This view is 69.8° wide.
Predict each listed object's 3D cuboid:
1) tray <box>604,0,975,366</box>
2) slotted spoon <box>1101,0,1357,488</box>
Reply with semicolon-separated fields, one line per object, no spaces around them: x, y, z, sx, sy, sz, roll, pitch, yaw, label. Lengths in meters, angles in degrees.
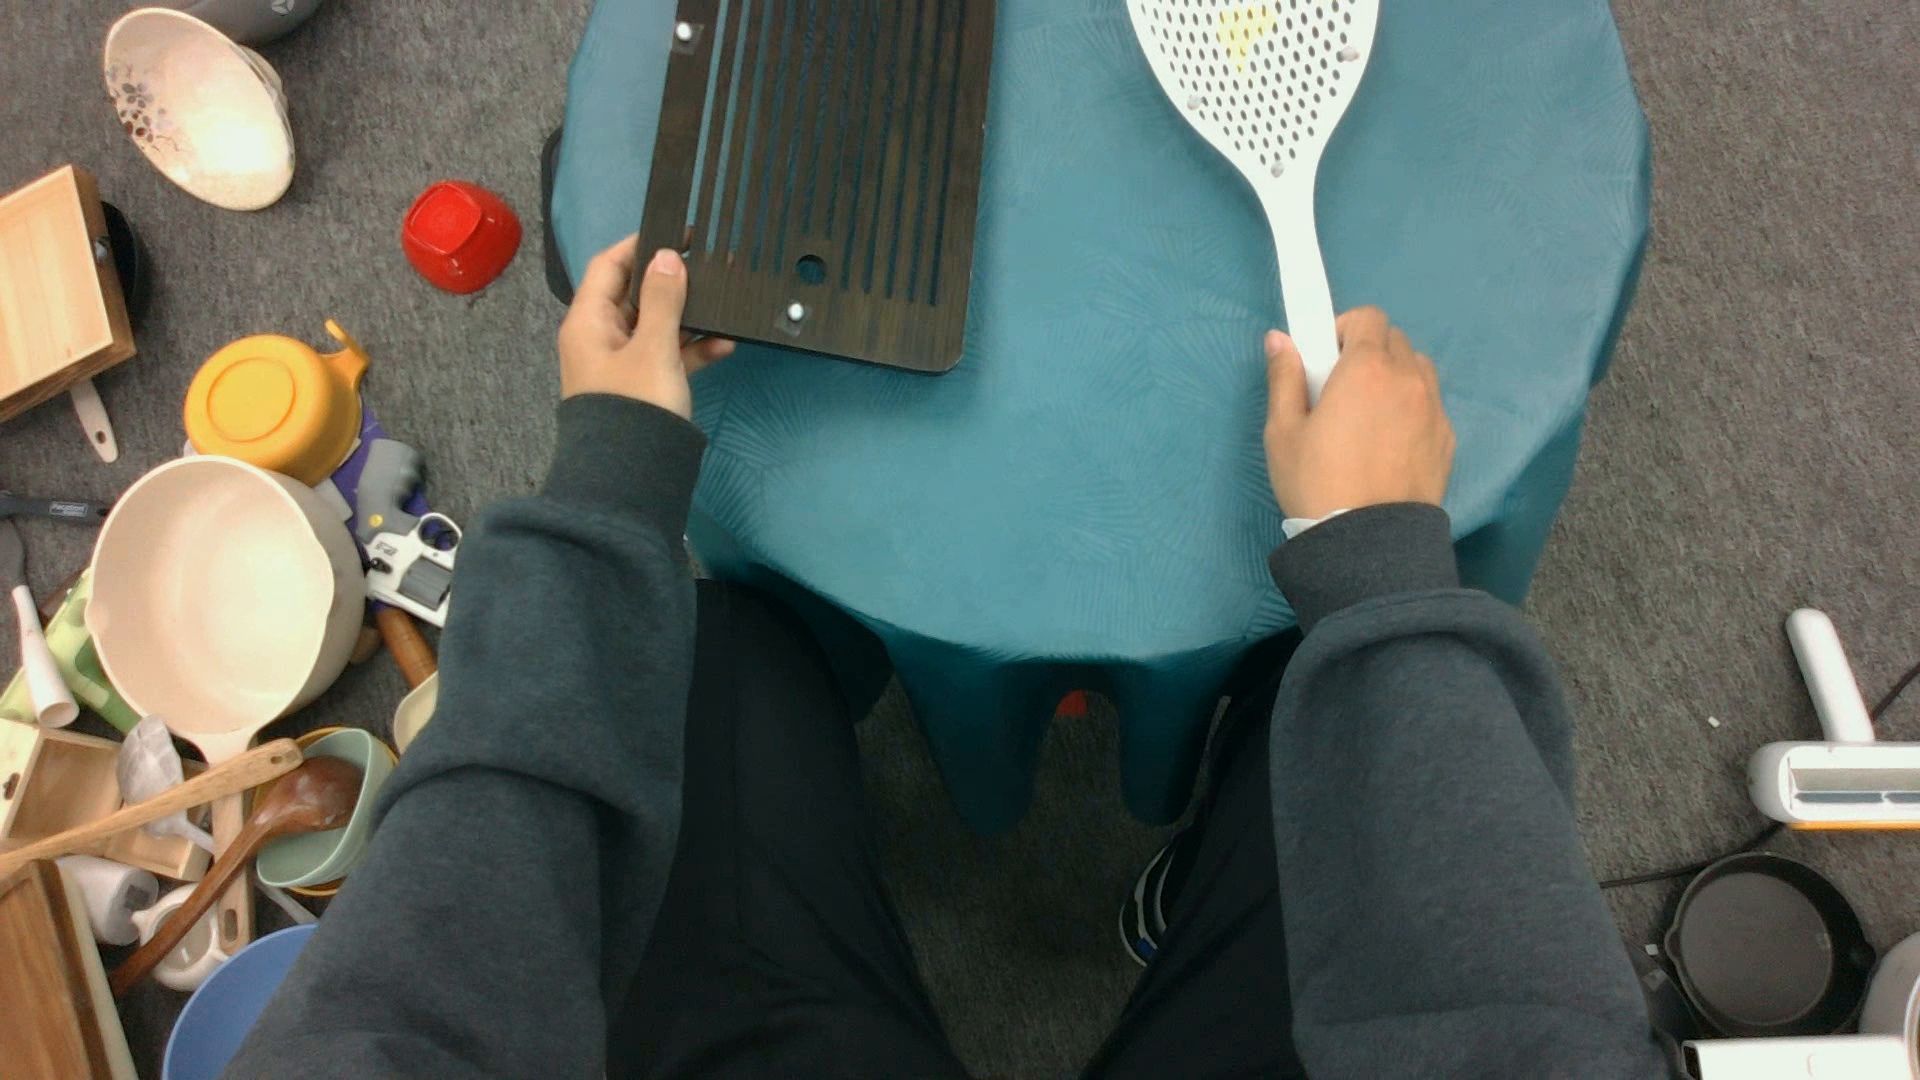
-0.082;-0.244;0.739;0.170;0.018;0.307;9;72;-11;tray
0.163;-0.198;0.738;0.137;0.050;0.348;-10;76;3;slotted spoon
